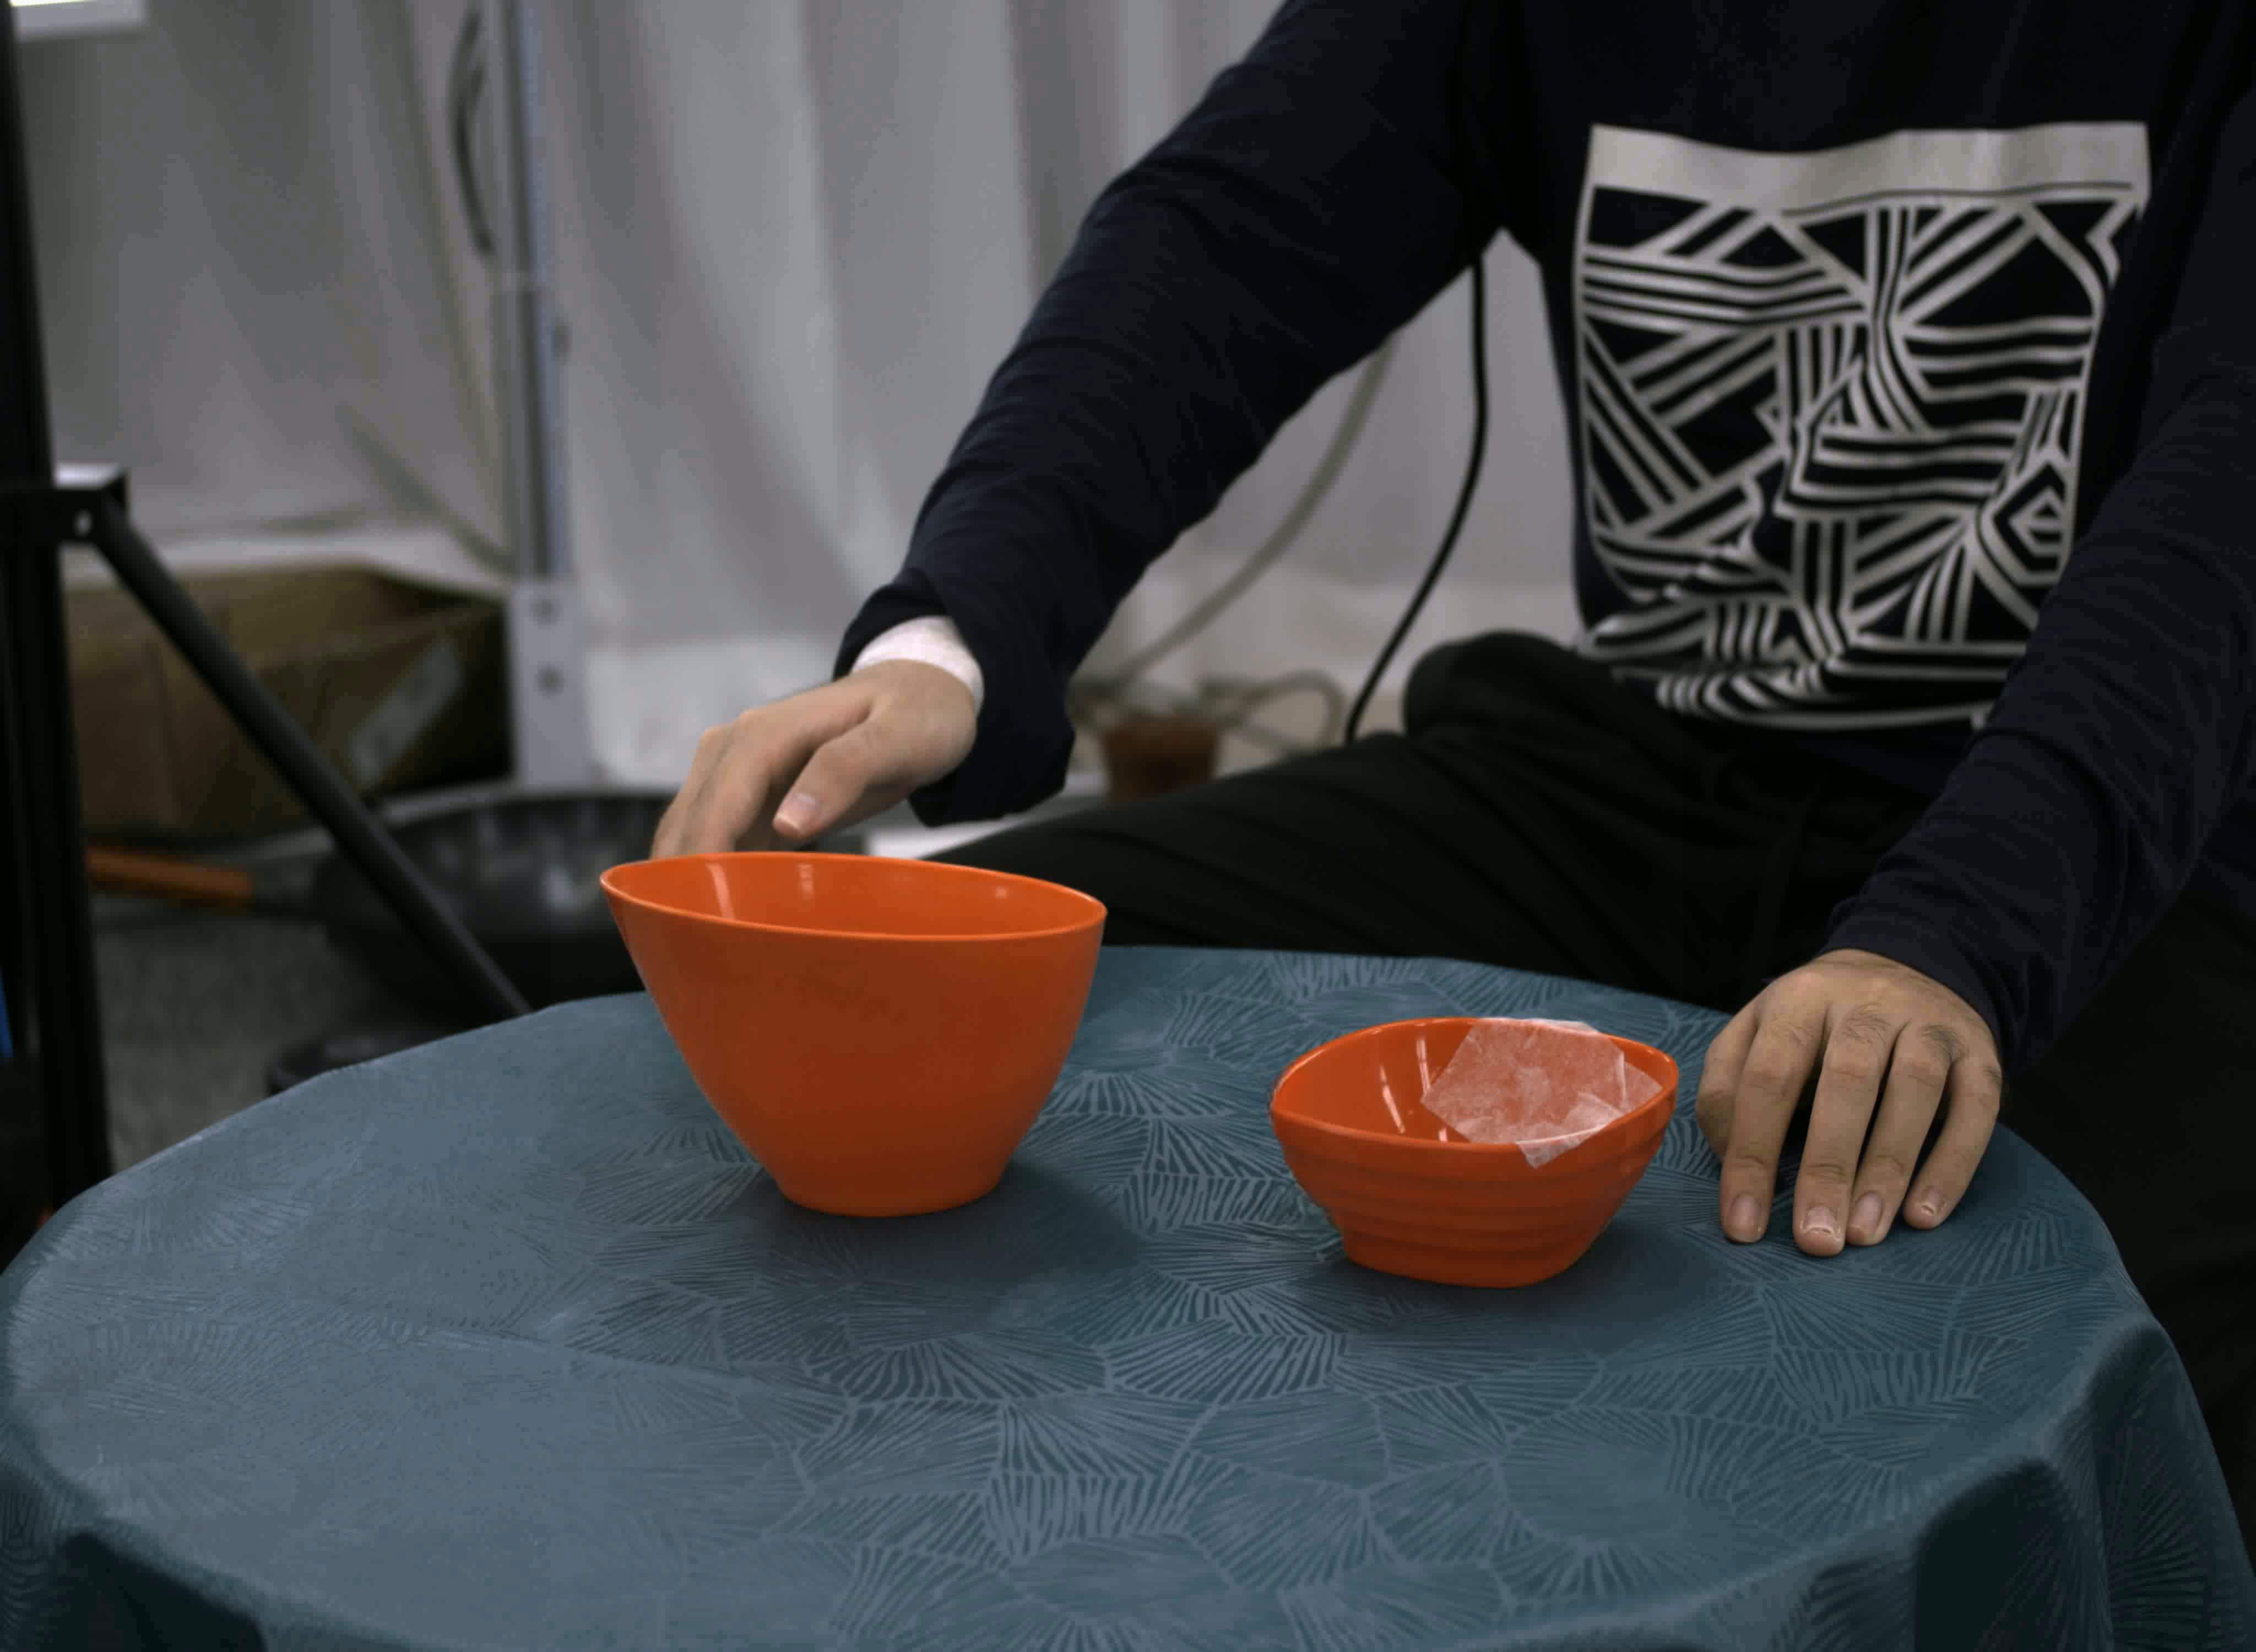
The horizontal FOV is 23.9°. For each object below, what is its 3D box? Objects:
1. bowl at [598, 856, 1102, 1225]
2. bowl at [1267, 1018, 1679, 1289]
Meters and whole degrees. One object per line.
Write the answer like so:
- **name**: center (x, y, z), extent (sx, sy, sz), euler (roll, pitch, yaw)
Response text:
- **bowl**: center (-0.080, 0.061, 1.562), extent (0.147, 0.105, 0.149), euler (-2, 14, -1)
- **bowl**: center (0.099, 0.095, 1.499), extent (0.118, 0.051, 0.119), euler (-4, 15, 0)
